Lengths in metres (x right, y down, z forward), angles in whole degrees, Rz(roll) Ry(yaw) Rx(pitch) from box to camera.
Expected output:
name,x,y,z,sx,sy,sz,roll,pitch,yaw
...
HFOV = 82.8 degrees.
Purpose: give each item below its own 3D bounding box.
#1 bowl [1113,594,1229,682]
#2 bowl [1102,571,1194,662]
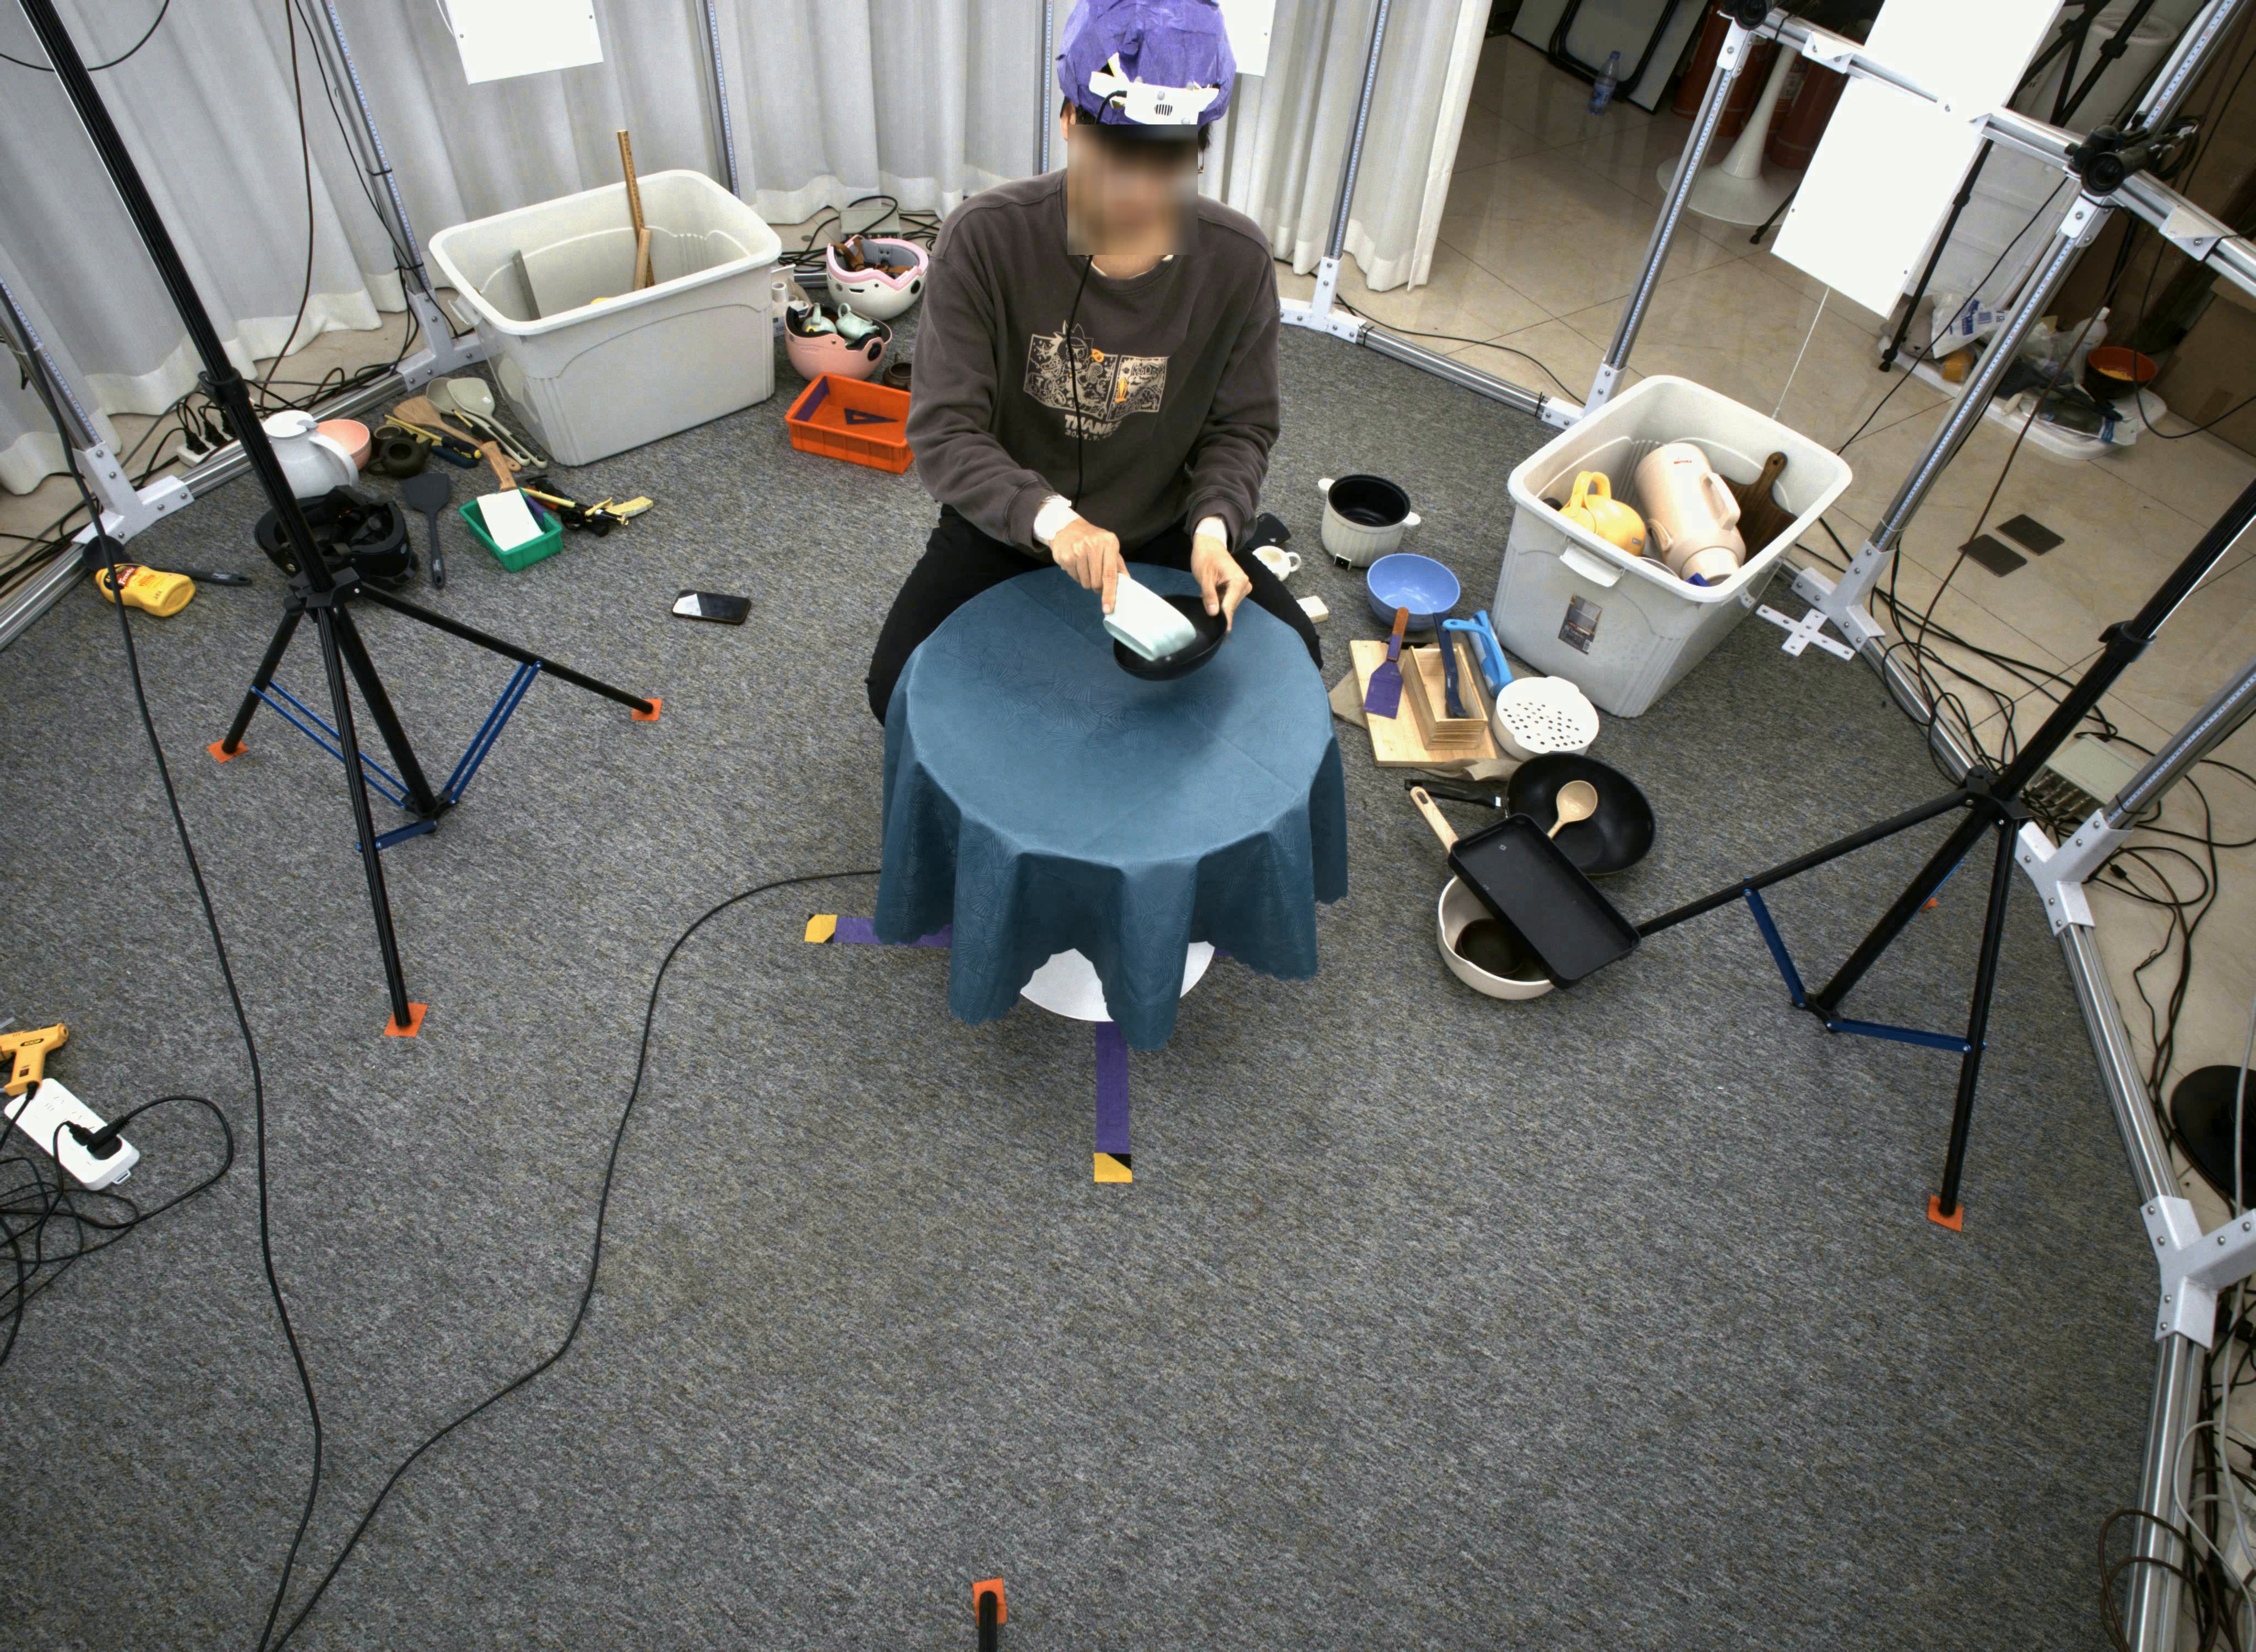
name,x,y,z,sx,sy,sz,roll,pitch,yaw
bowl,0.061,-0.247,1.771,0.171,0.065,0.140,-33,53,-20
bowl,0.016,-0.268,1.698,0.153,0.149,0.059,36,87,24
